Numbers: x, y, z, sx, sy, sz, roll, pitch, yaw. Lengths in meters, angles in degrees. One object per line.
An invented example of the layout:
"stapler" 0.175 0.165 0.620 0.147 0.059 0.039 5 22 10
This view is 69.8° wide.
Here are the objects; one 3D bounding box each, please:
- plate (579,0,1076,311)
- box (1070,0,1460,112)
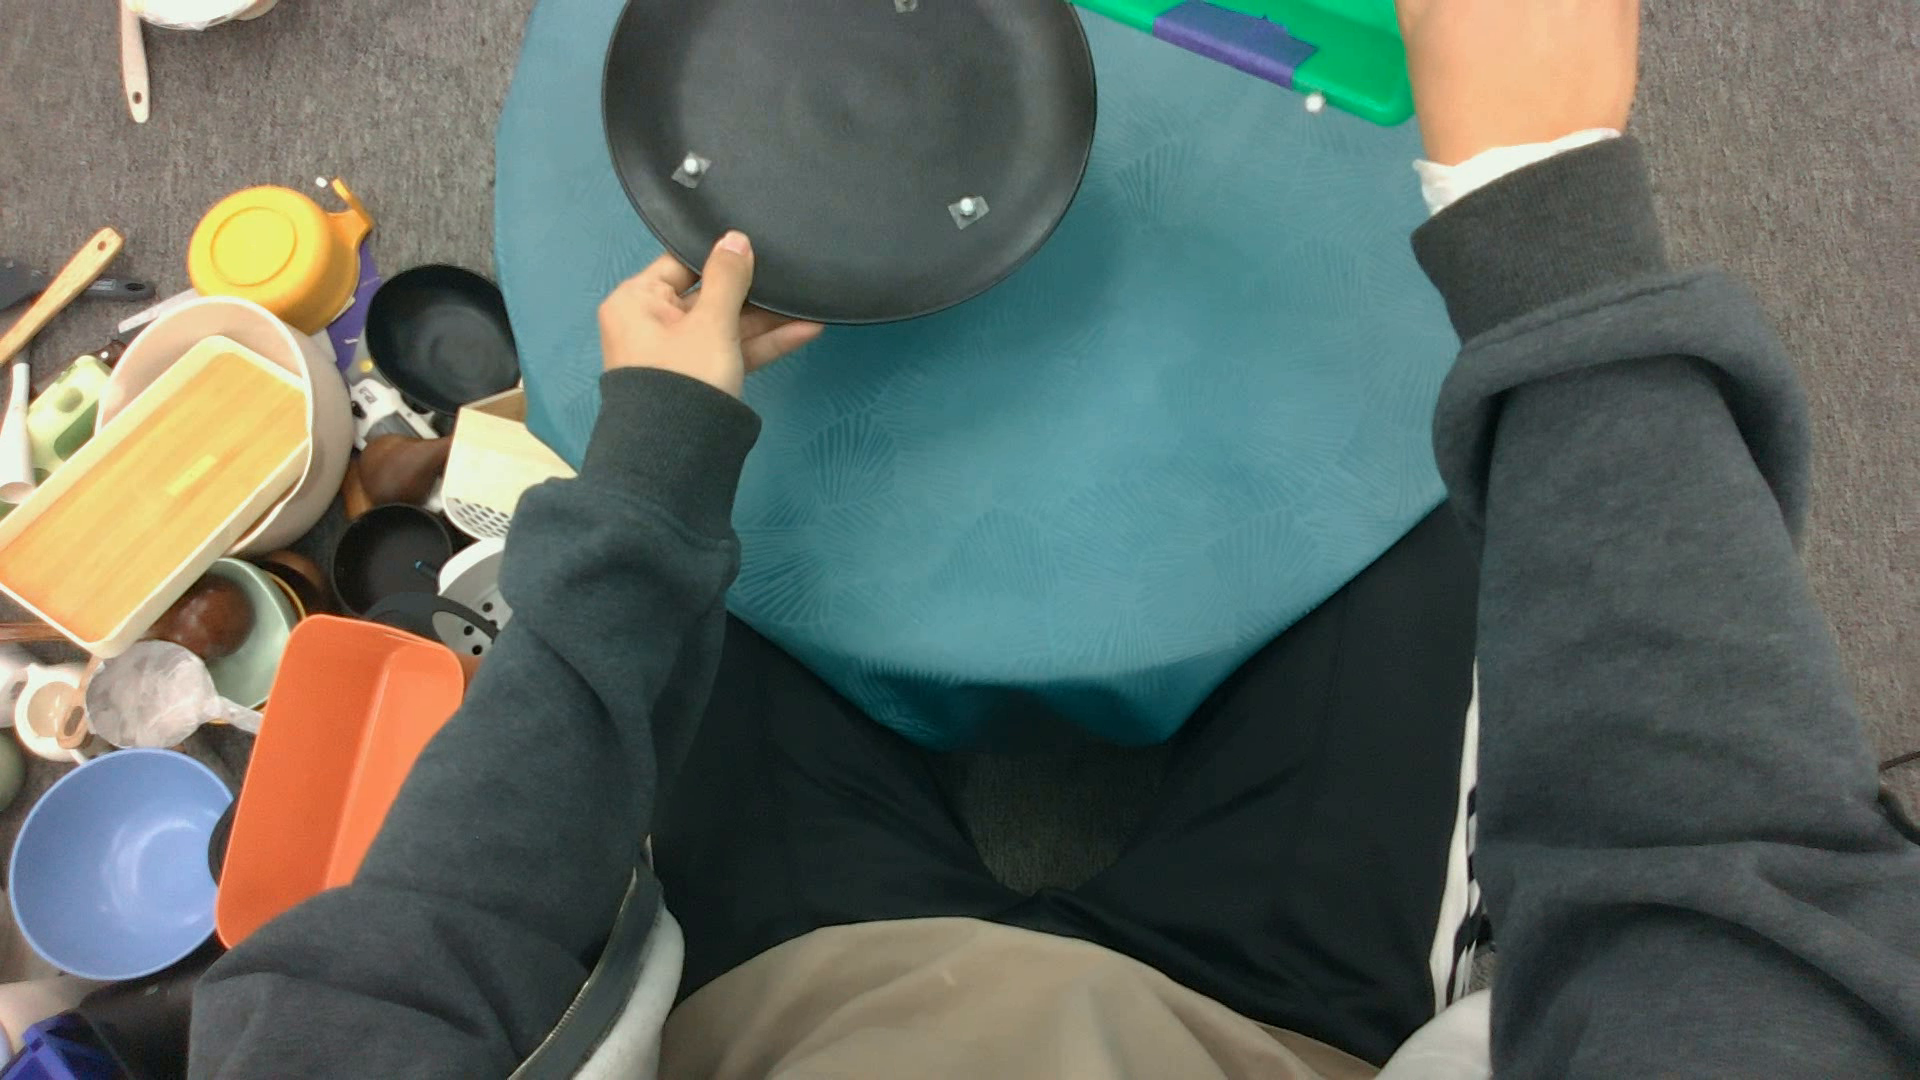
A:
"plate" -0.064 -0.224 0.688 0.244 0.023 0.245 1 76 -4
"box" 0.119 -0.277 0.562 0.210 0.138 0.065 31 53 27
